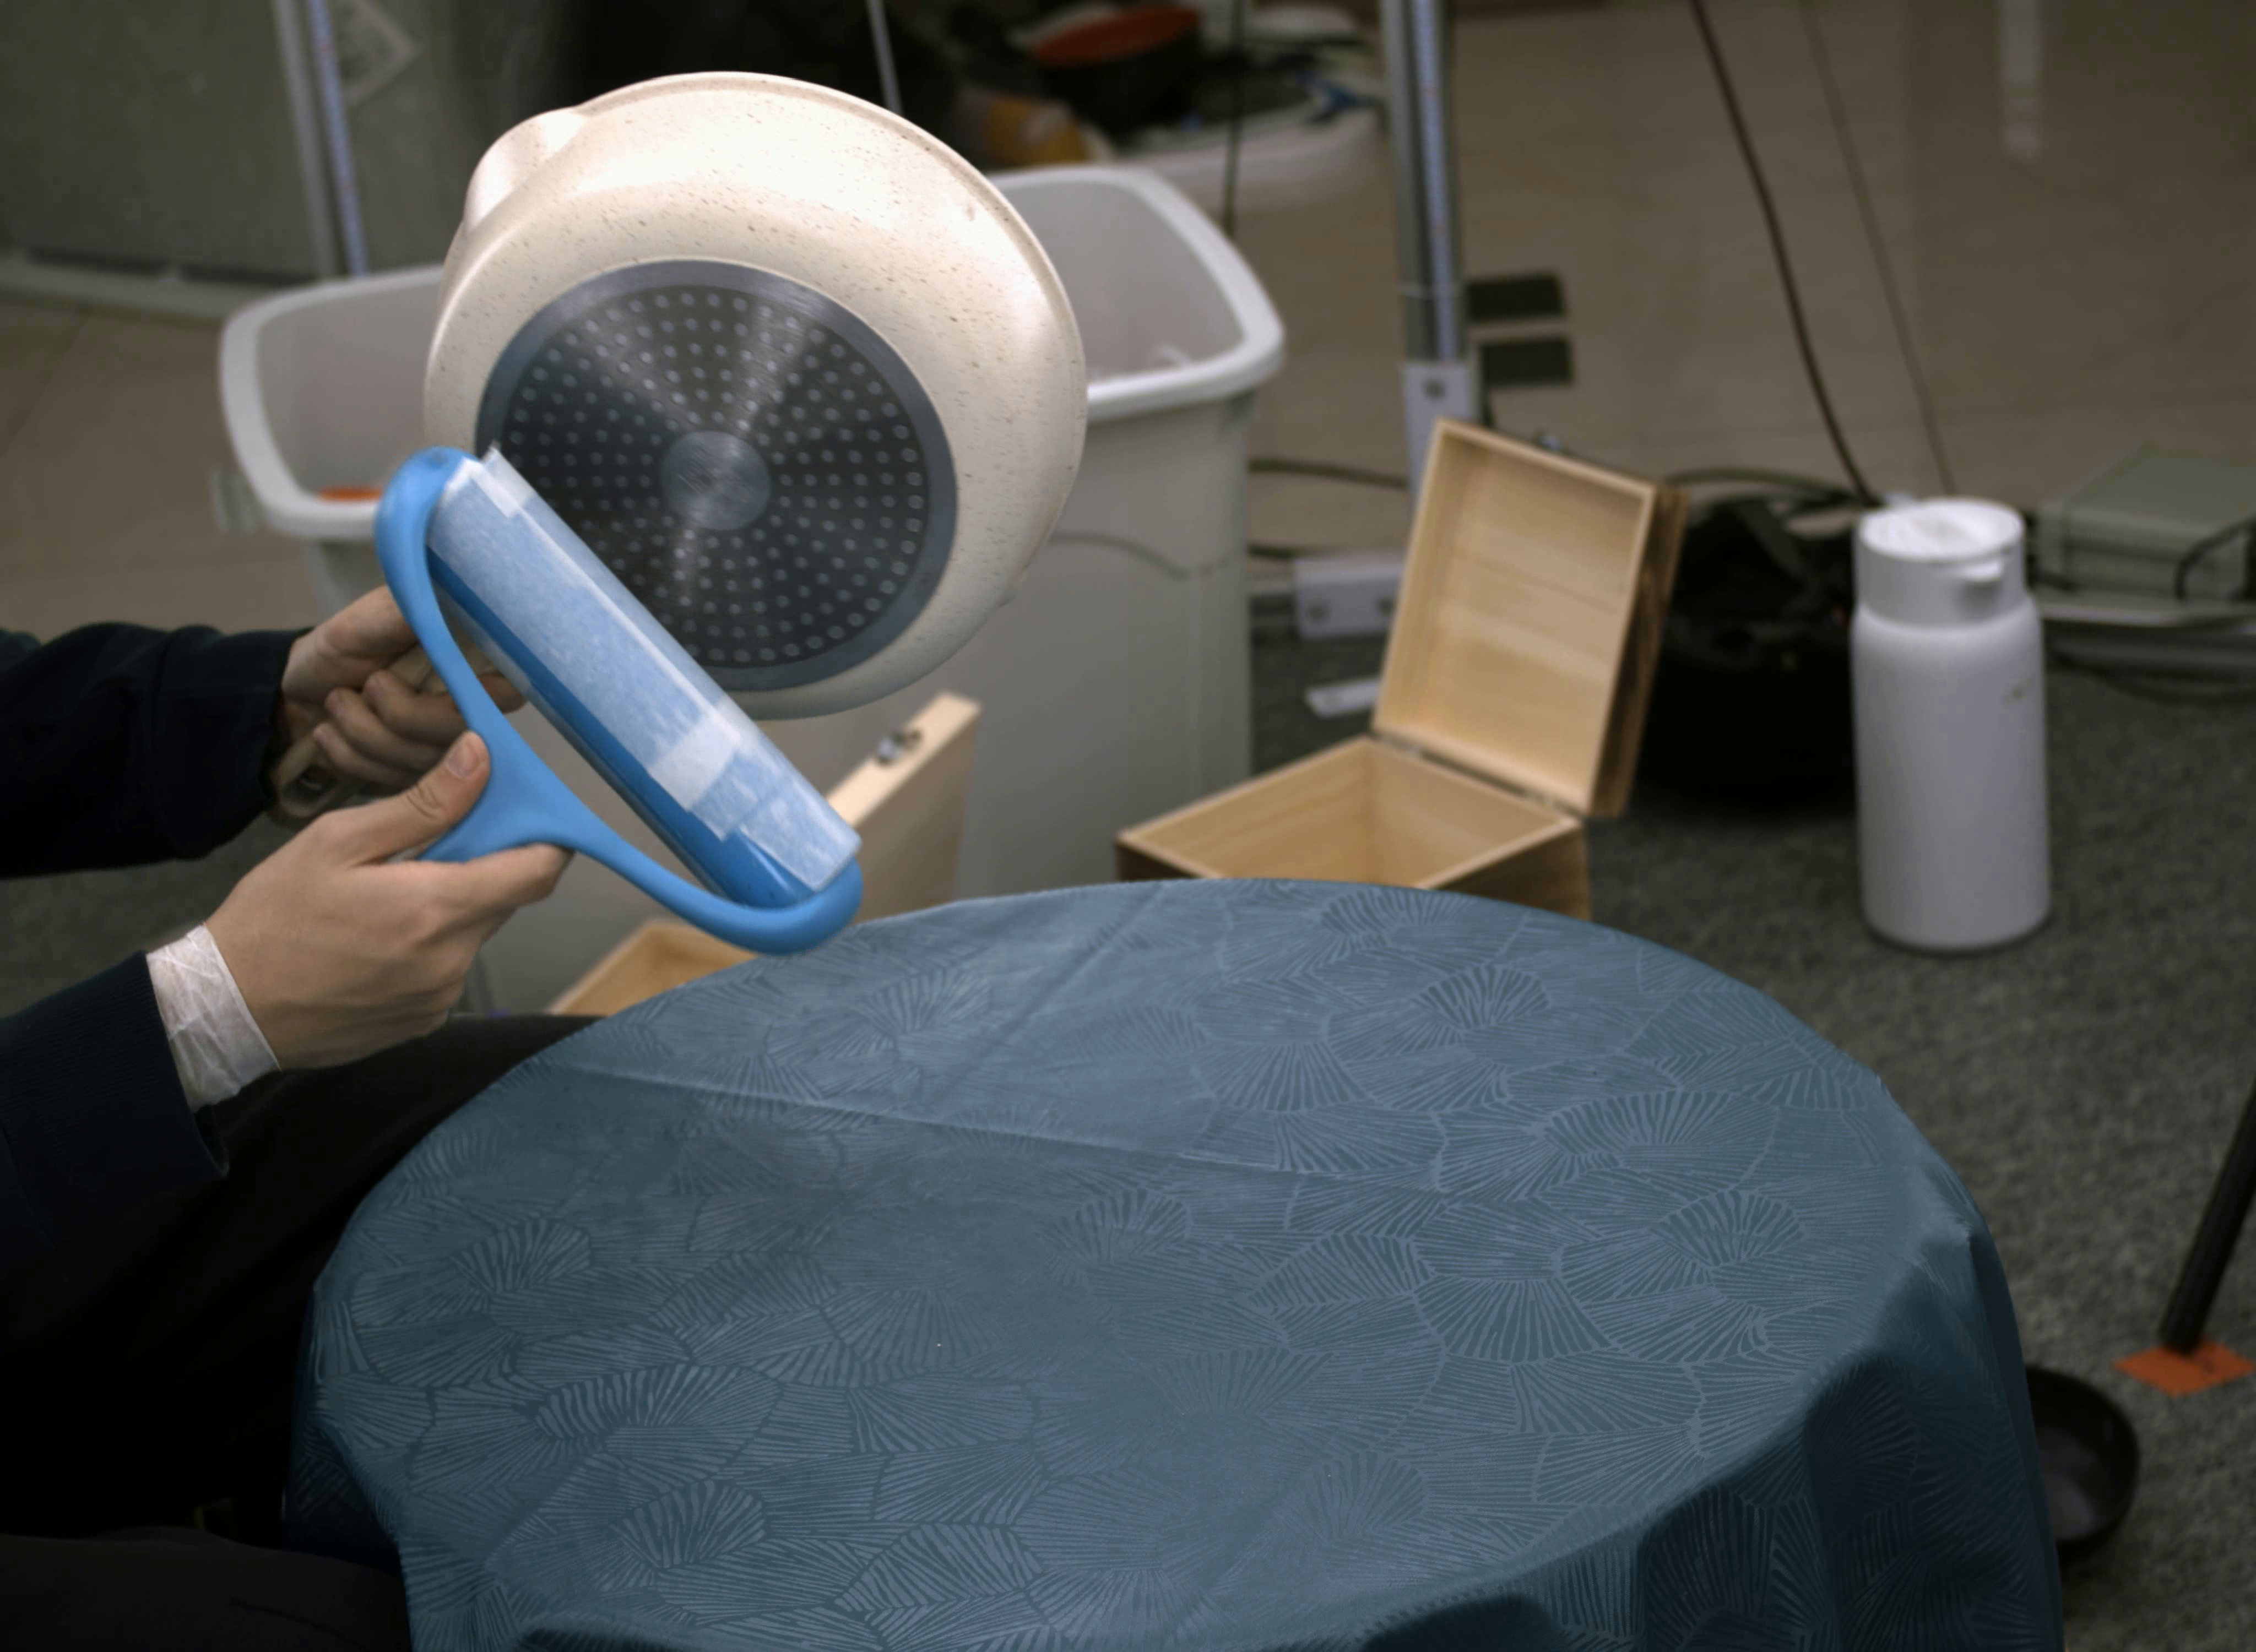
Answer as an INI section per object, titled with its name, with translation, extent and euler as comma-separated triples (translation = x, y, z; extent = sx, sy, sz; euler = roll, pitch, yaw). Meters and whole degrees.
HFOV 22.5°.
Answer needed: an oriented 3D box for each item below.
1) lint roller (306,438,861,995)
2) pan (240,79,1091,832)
[lint roller]
translation = -0.220, -0.009, 2.016
extent = 0.179, 0.230, 0.068
euler = -49, 11, -14
[pan]
translation = -0.205, -0.100, 2.145
extent = 0.439, 0.265, 0.100
euler = -38, 21, 30
